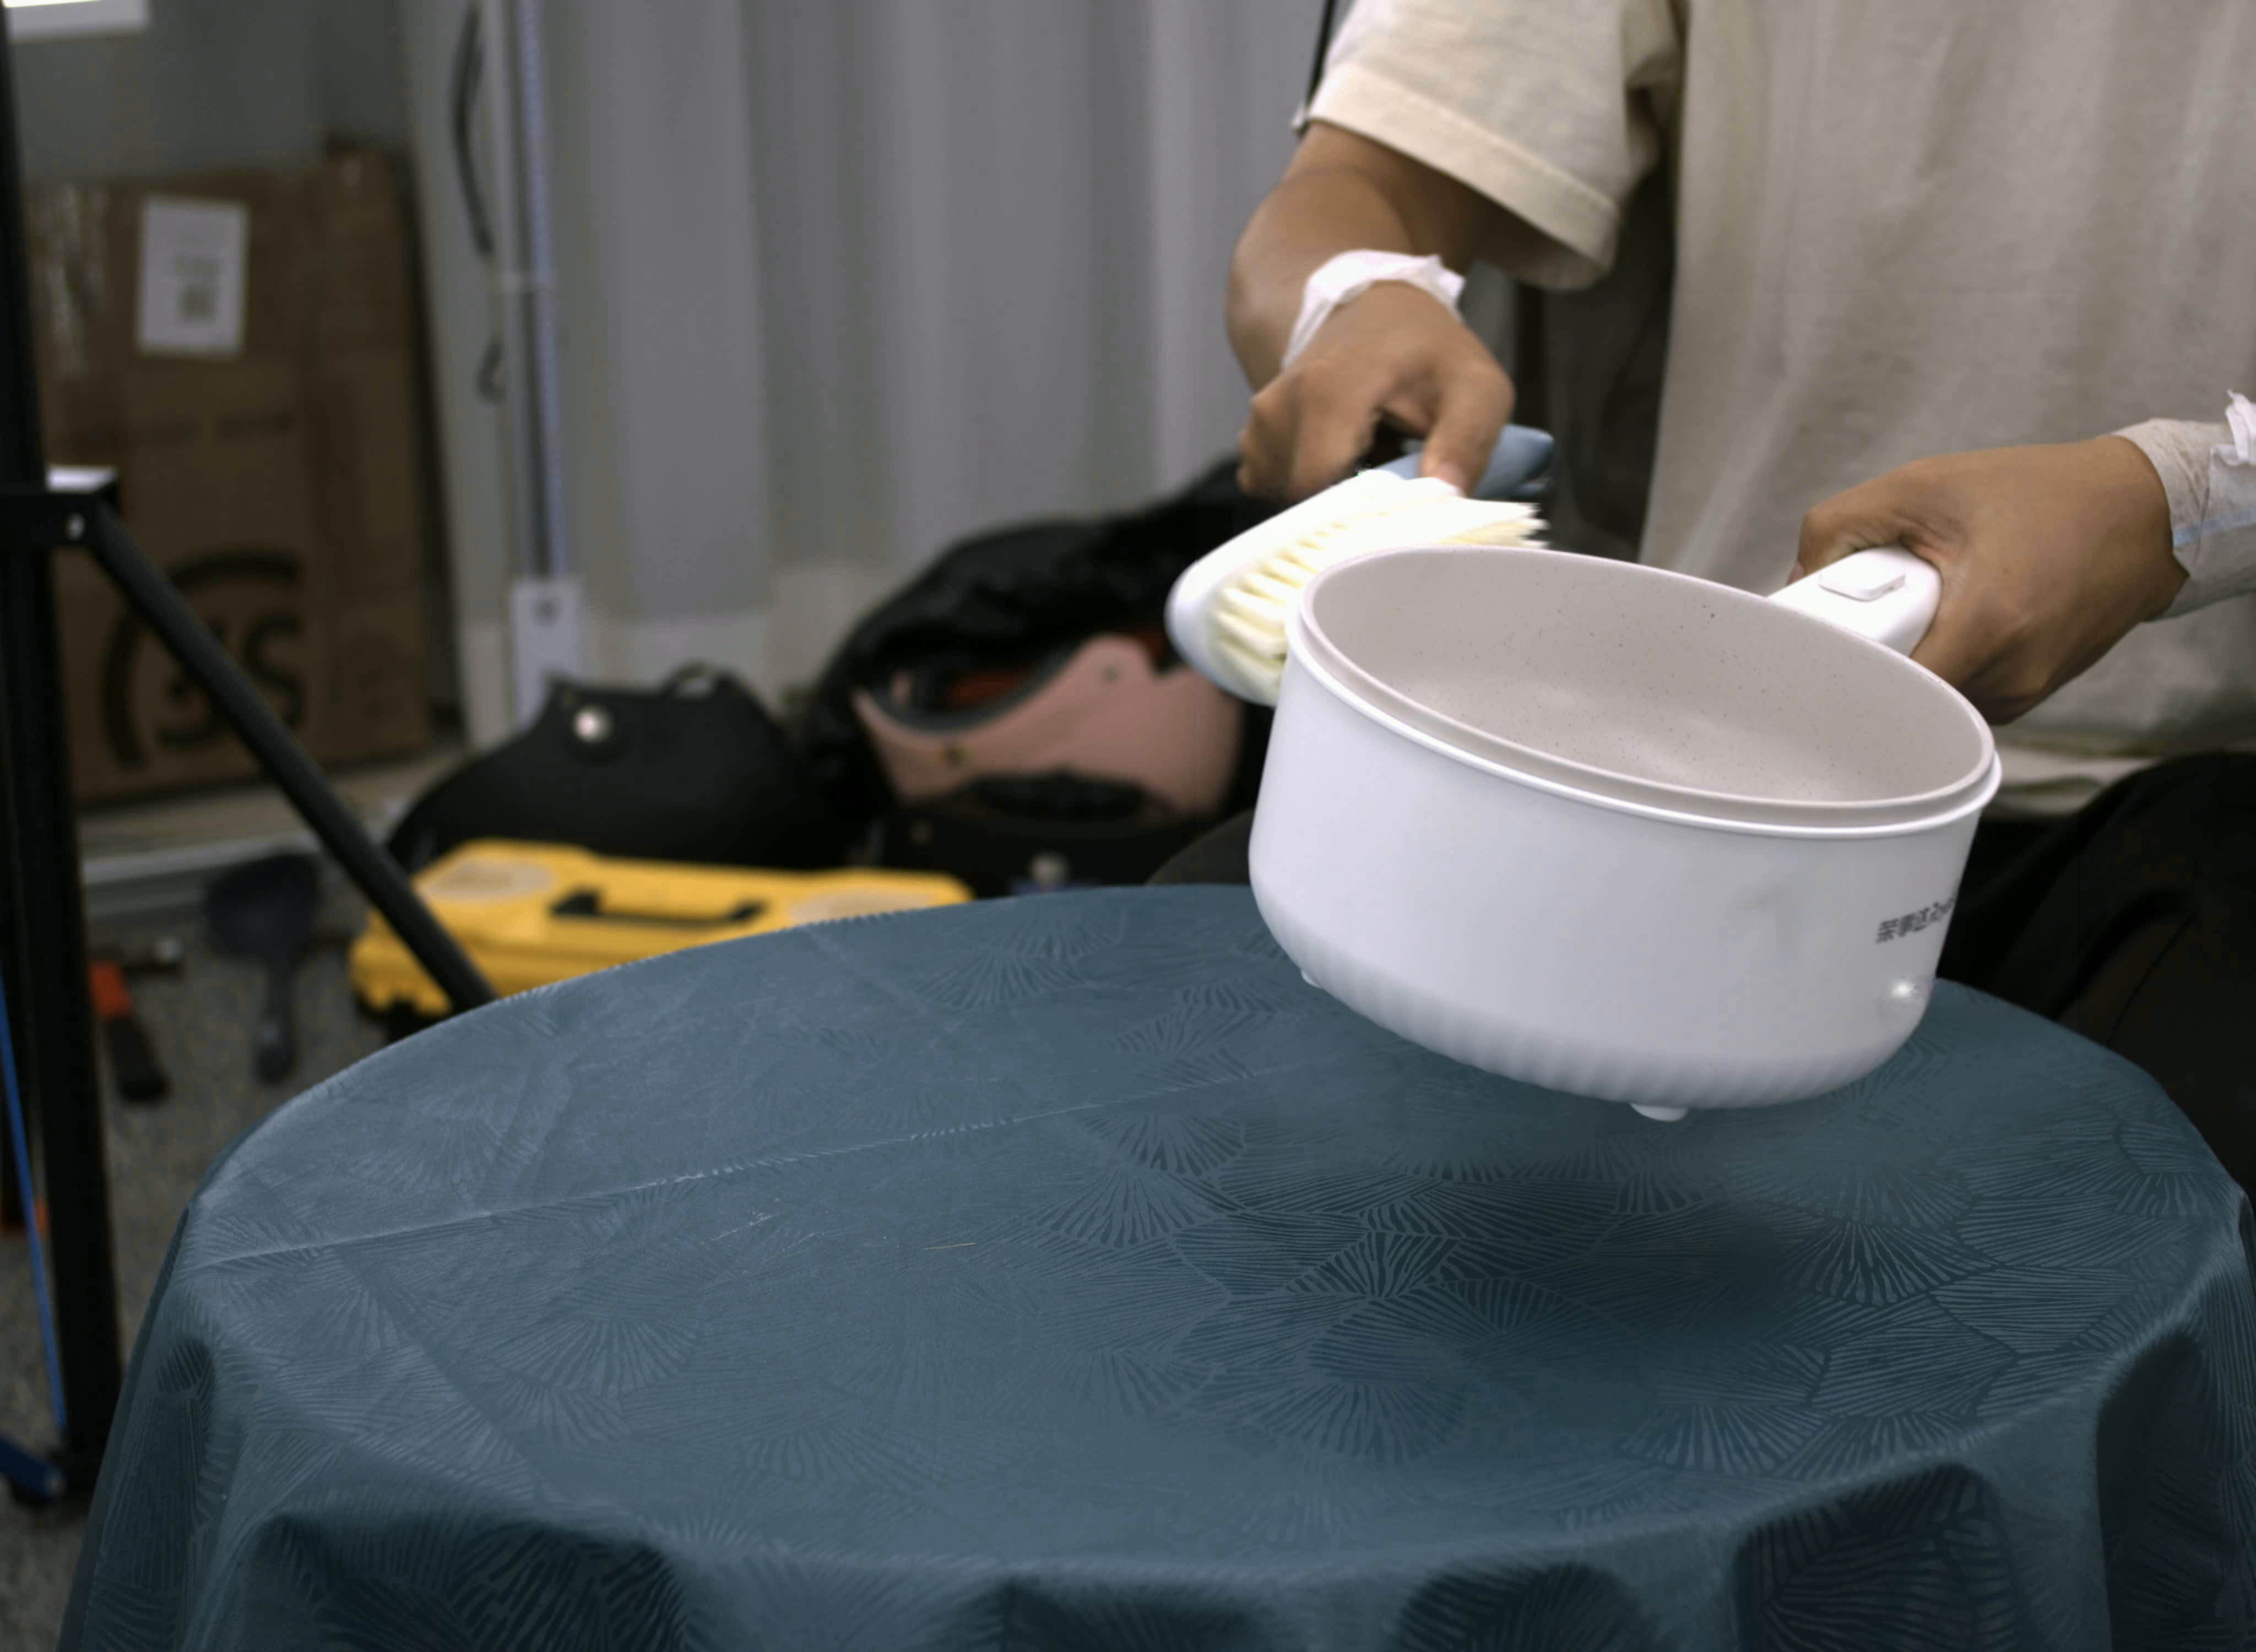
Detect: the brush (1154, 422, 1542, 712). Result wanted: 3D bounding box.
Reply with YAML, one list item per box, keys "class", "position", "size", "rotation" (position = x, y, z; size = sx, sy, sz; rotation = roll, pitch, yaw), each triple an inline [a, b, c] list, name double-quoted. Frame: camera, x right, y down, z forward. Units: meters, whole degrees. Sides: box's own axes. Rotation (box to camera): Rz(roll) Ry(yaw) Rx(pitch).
- class: "brush"
  position: [0.102, -0.086, 1.640]
  size: [0.084, 0.085, 0.320]
  rotation: [-35, -4, 25]

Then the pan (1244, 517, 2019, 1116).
- class: "pan"
  position: [0.168, -0.013, 1.530]
  size: [0.204, 0.102, 0.348]
  rotation: [20, 21, 25]
